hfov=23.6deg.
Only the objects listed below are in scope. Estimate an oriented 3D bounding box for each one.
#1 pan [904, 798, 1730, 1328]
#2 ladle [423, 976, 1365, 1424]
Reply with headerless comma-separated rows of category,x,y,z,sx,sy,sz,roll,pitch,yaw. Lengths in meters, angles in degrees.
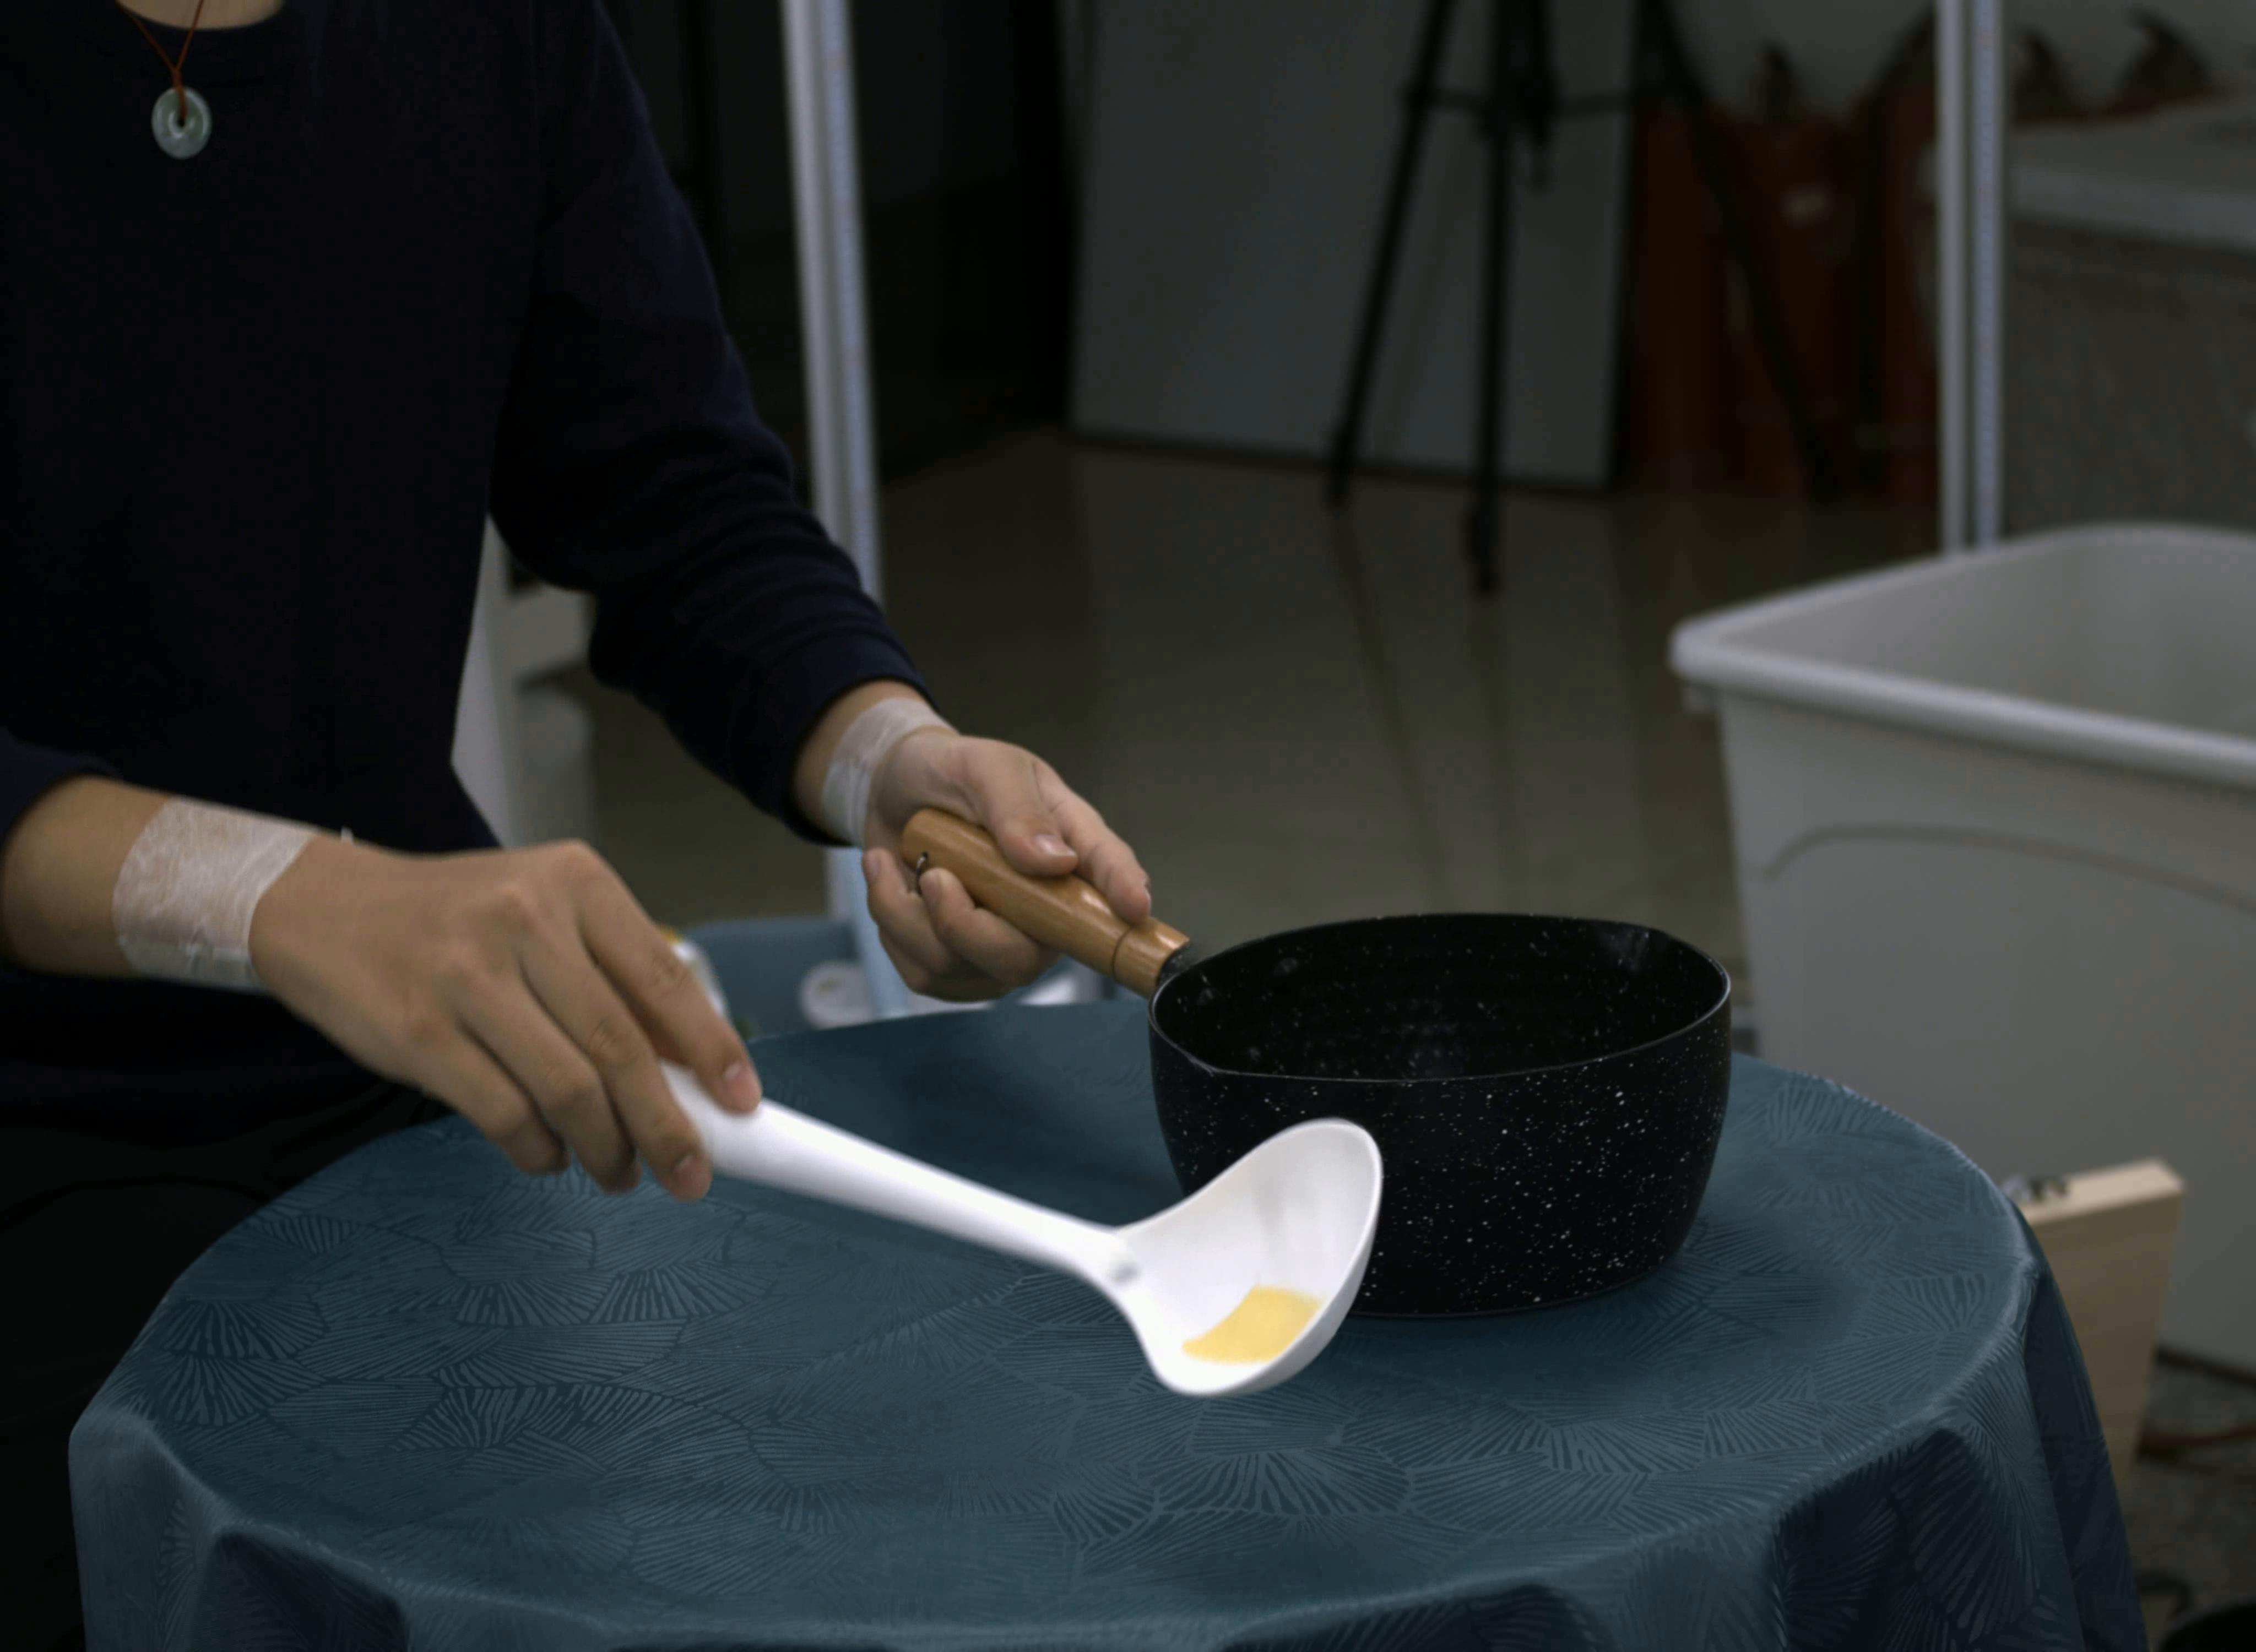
pan,0.044,0.069,1.742,0.203,0.109,0.346,-17,20,-40
ladle,-0.069,0.091,1.497,0.293,0.090,0.069,18,-21,19
